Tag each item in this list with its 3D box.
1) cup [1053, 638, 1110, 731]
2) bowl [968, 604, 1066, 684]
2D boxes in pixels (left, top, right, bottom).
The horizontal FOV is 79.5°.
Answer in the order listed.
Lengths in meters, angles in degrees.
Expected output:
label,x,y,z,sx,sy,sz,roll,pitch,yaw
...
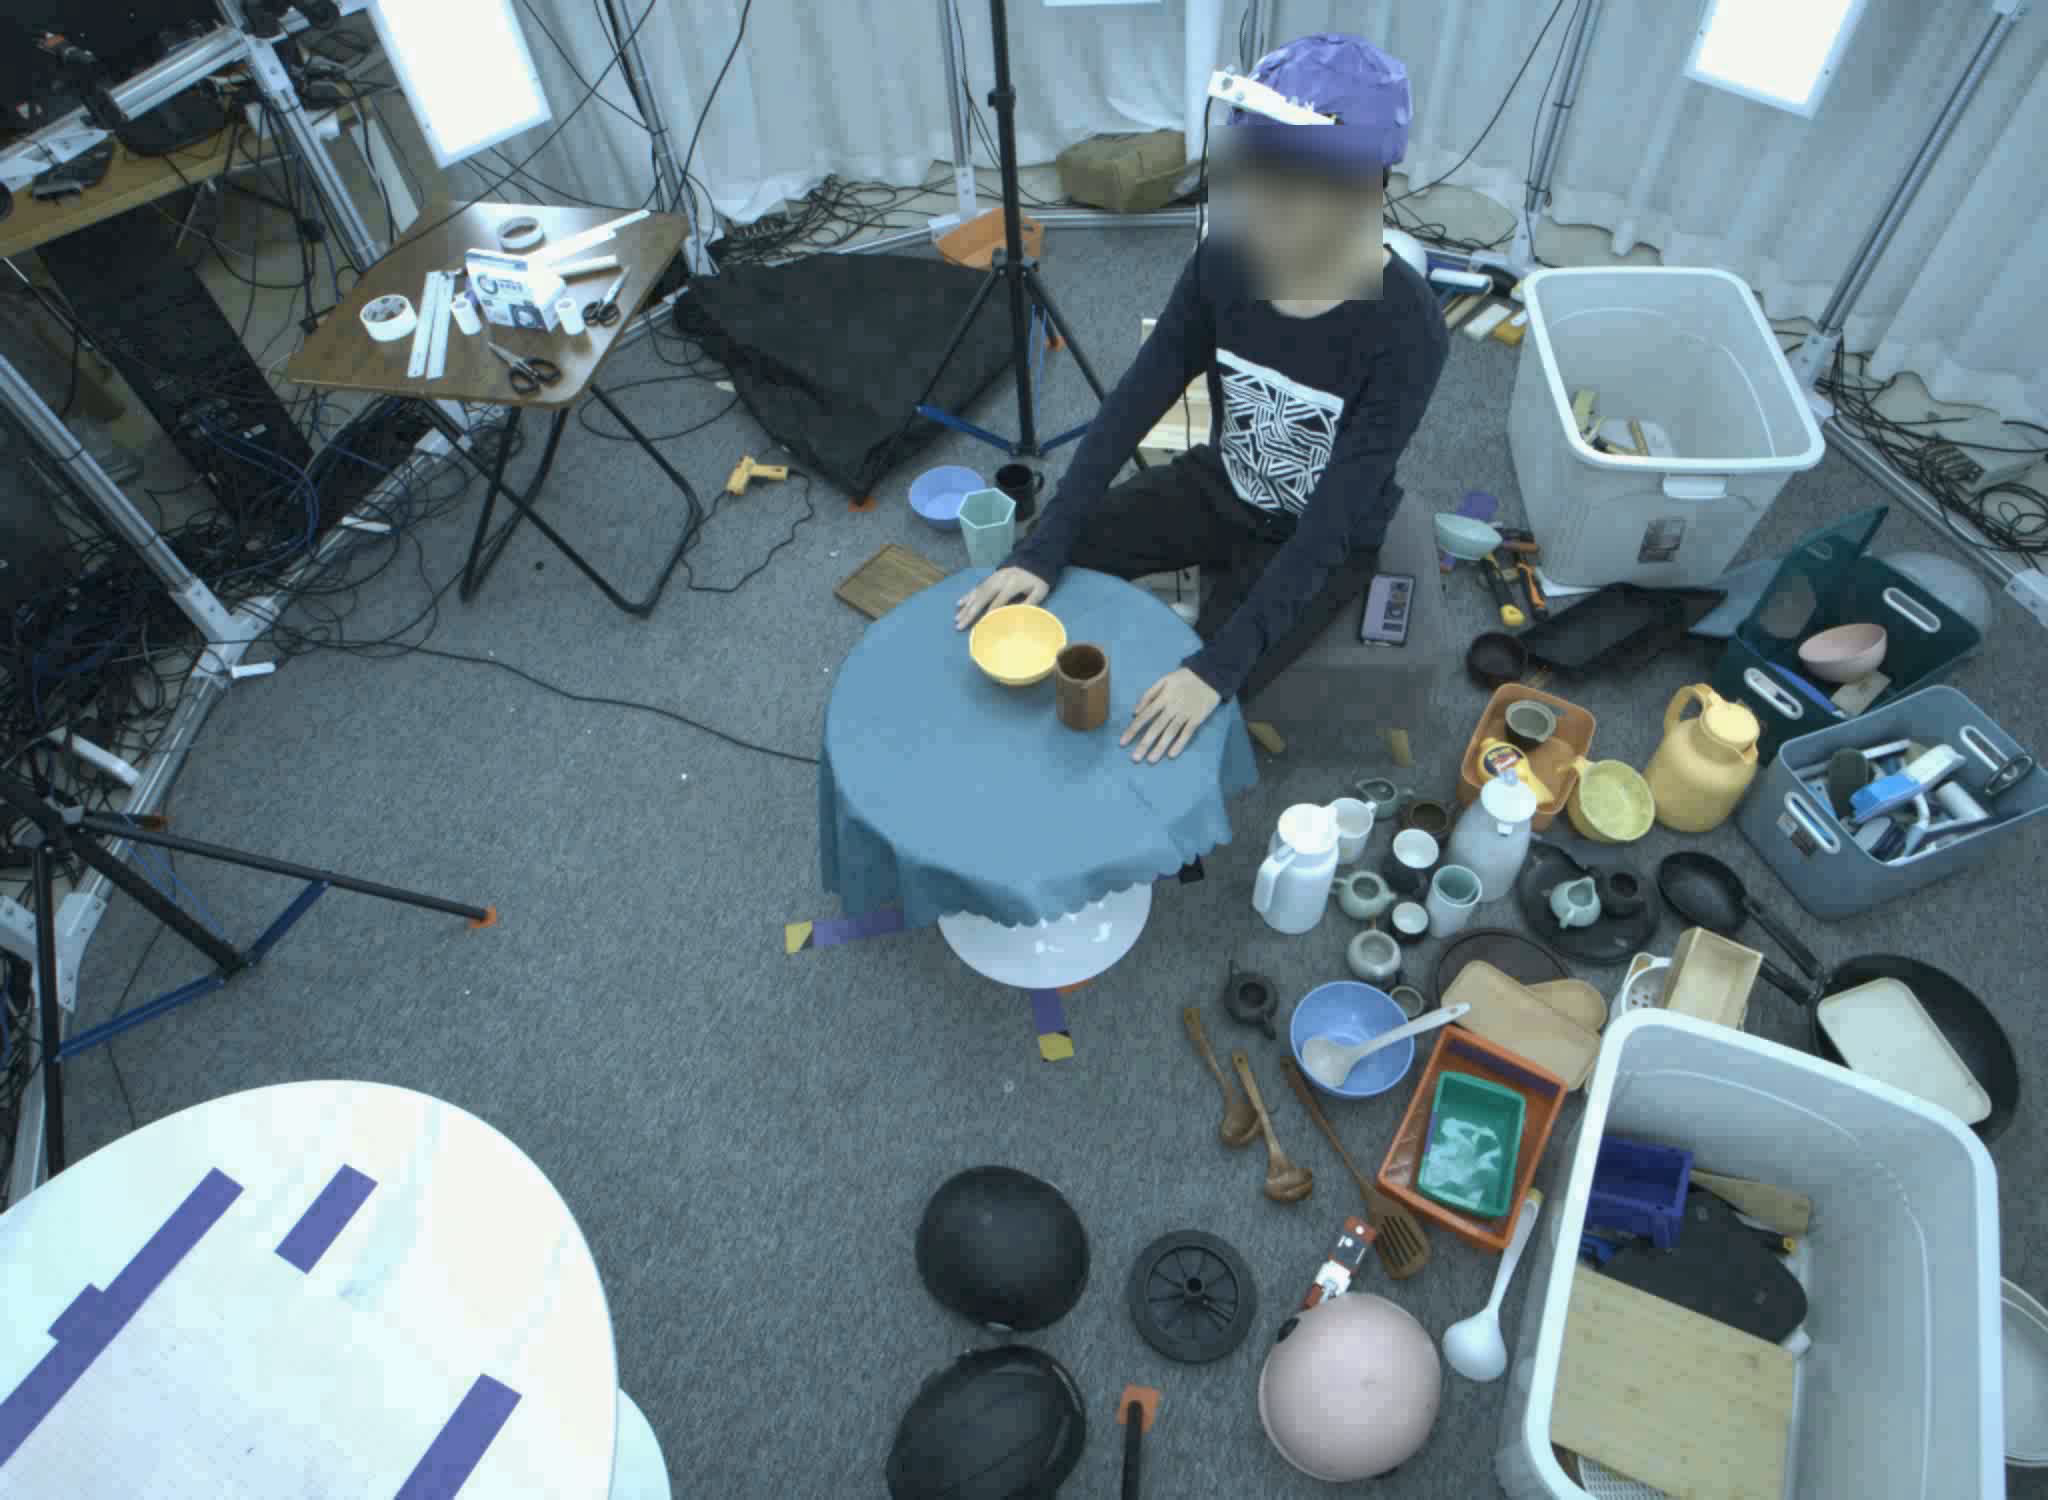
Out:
label,x,y,z,sx,sy,sz,roll,pitch,yaw
cup,0.083,-0.094,1.772,0.088,0.119,0.087,0,55,2
bowl,-0.009,-0.148,1.848,0.145,0.061,0.144,0,55,1
